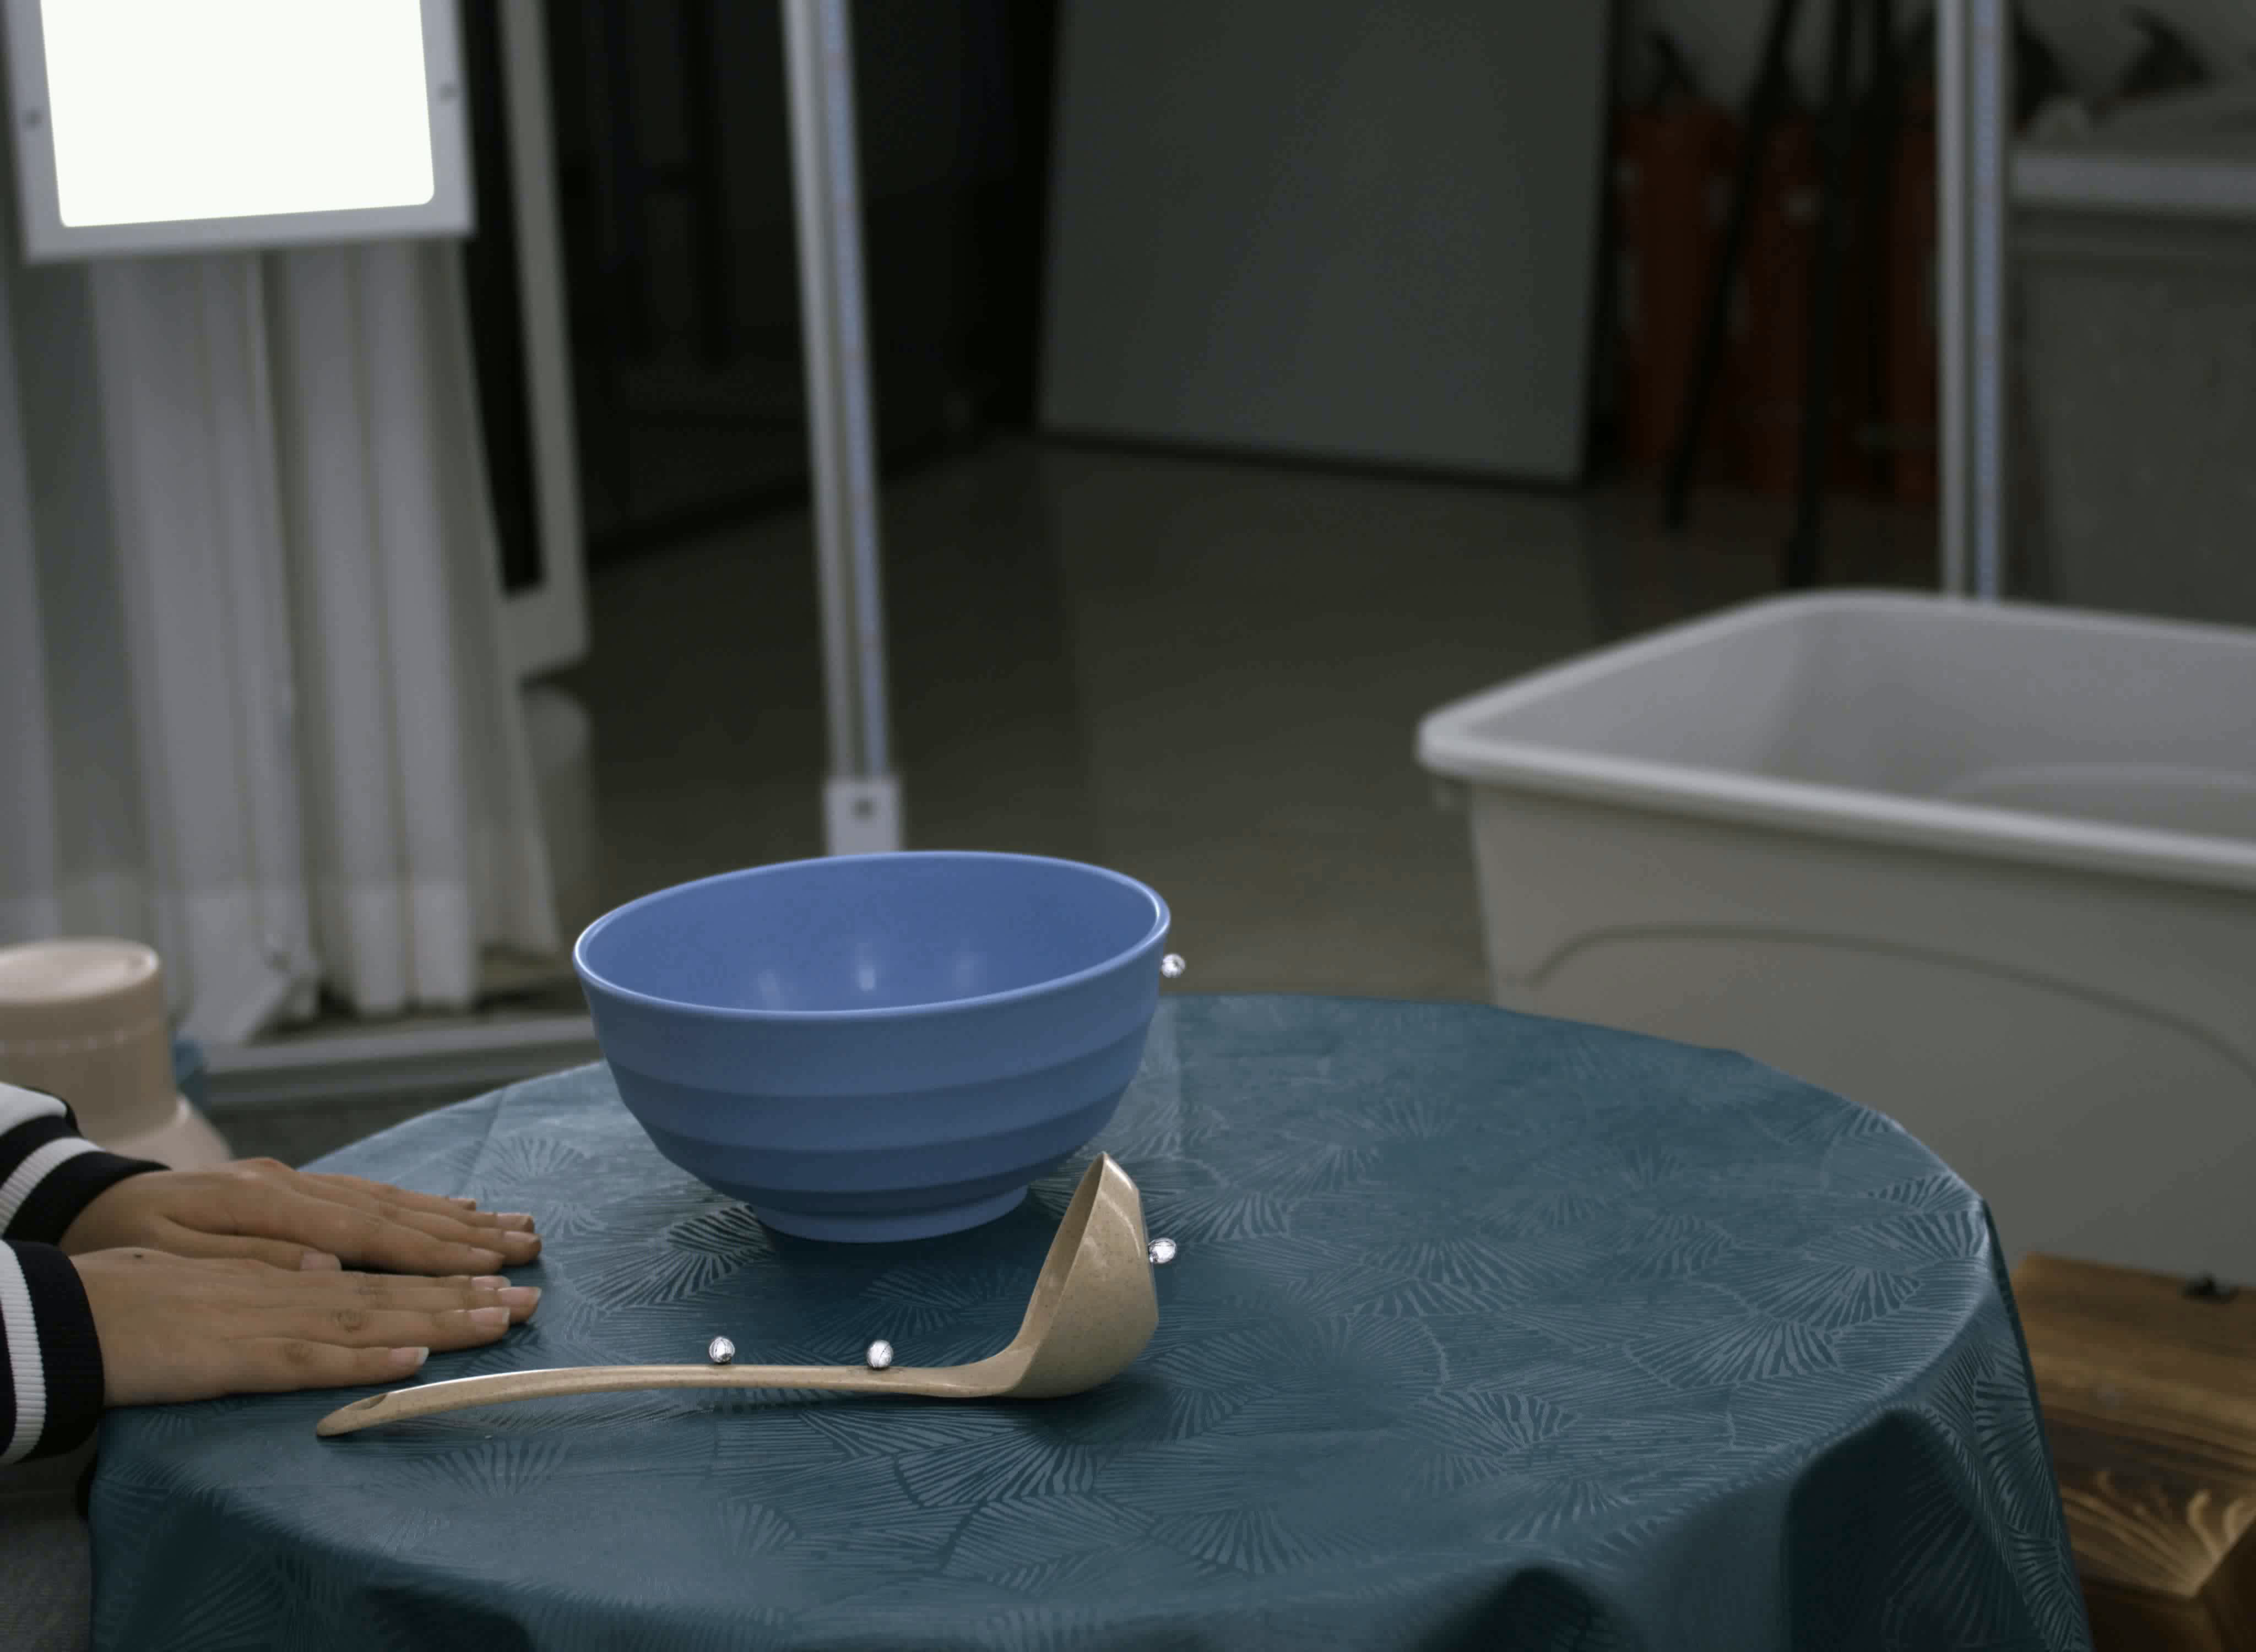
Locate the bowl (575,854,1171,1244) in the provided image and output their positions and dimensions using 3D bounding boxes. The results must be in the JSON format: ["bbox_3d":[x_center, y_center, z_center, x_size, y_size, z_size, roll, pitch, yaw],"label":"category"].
[{"bbox_3d":[-0.082,0.078,1.767,0.194,0.096,0.197,-2,13,-1],"label":"bowl"}]

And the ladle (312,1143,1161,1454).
[{"bbox_3d":[-0.116,0.138,1.583,0.251,0.073,0.072,-4,13,0],"label":"ladle"}]
